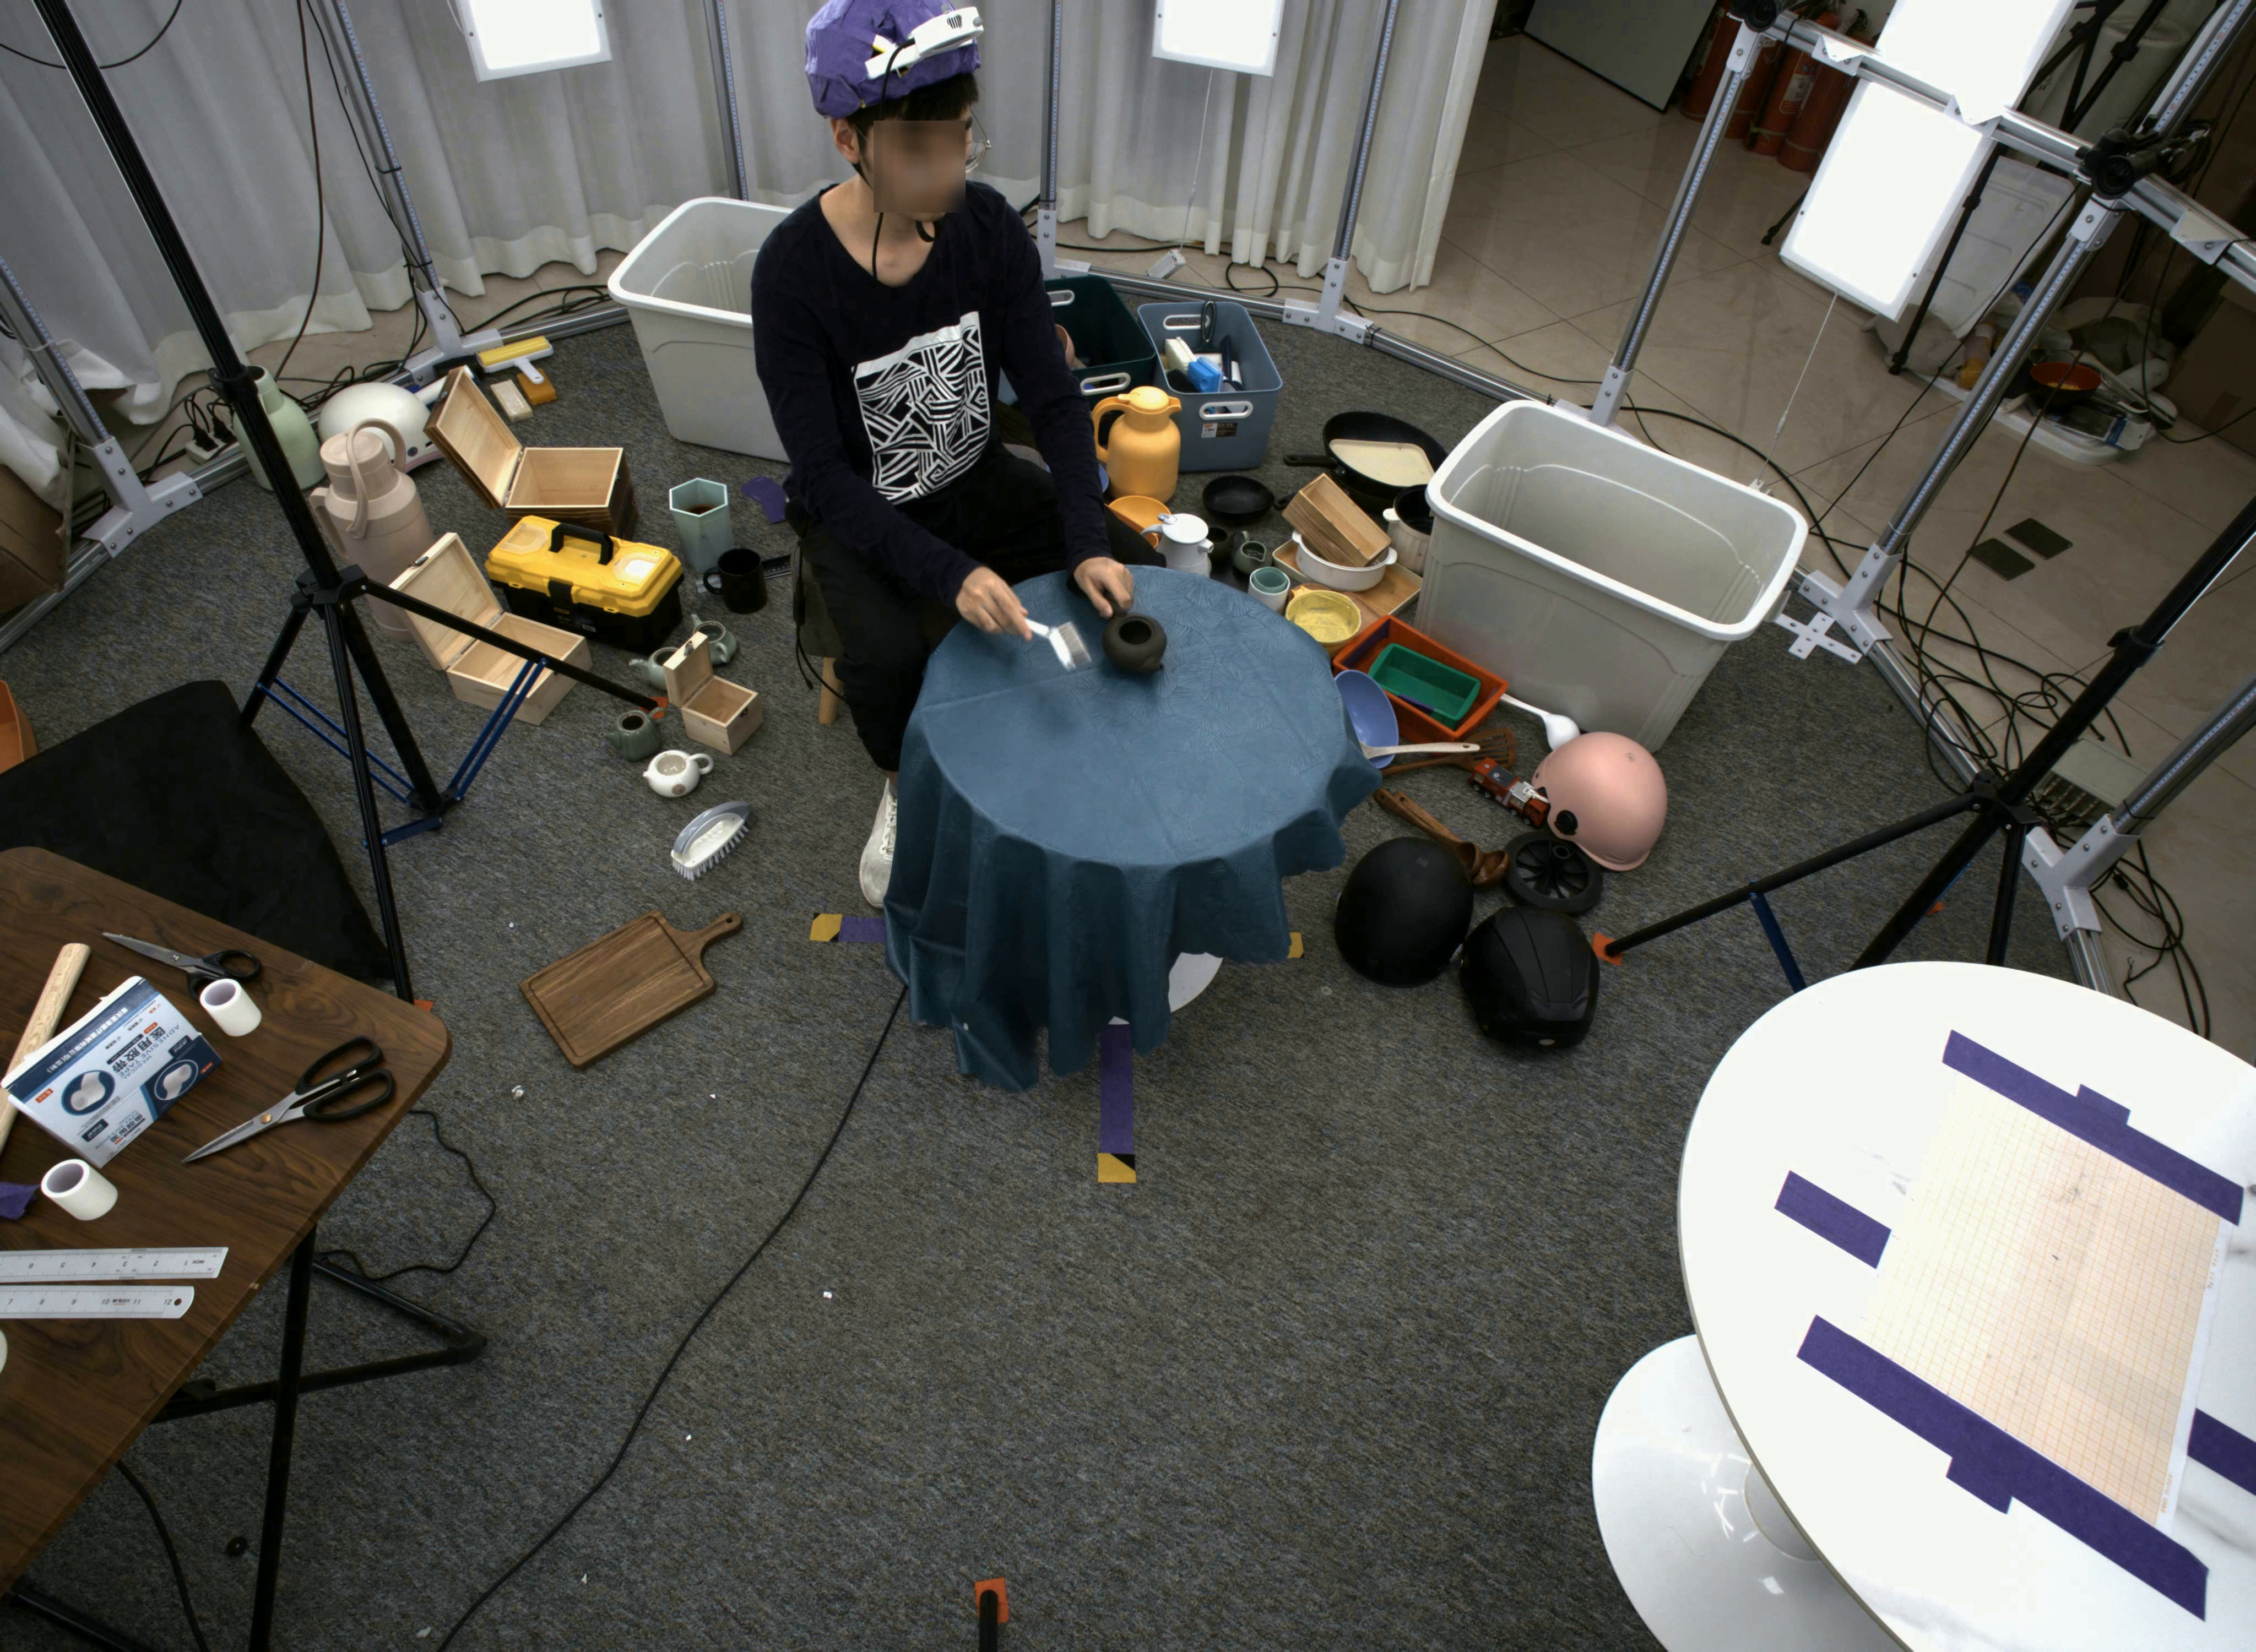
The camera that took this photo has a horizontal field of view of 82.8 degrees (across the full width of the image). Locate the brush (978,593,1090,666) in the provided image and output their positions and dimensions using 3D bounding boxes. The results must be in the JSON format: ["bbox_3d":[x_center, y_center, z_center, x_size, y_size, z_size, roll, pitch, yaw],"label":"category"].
[{"bbox_3d":[-0.133,-0.293,1.830,0.050,0.033,0.248,-39,46,-15],"label":"brush"}]

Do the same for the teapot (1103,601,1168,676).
[{"bbox_3d":[0.009,-0.266,1.857,0.092,0.063,0.157,-22,59,-19],"label":"teapot"}]
